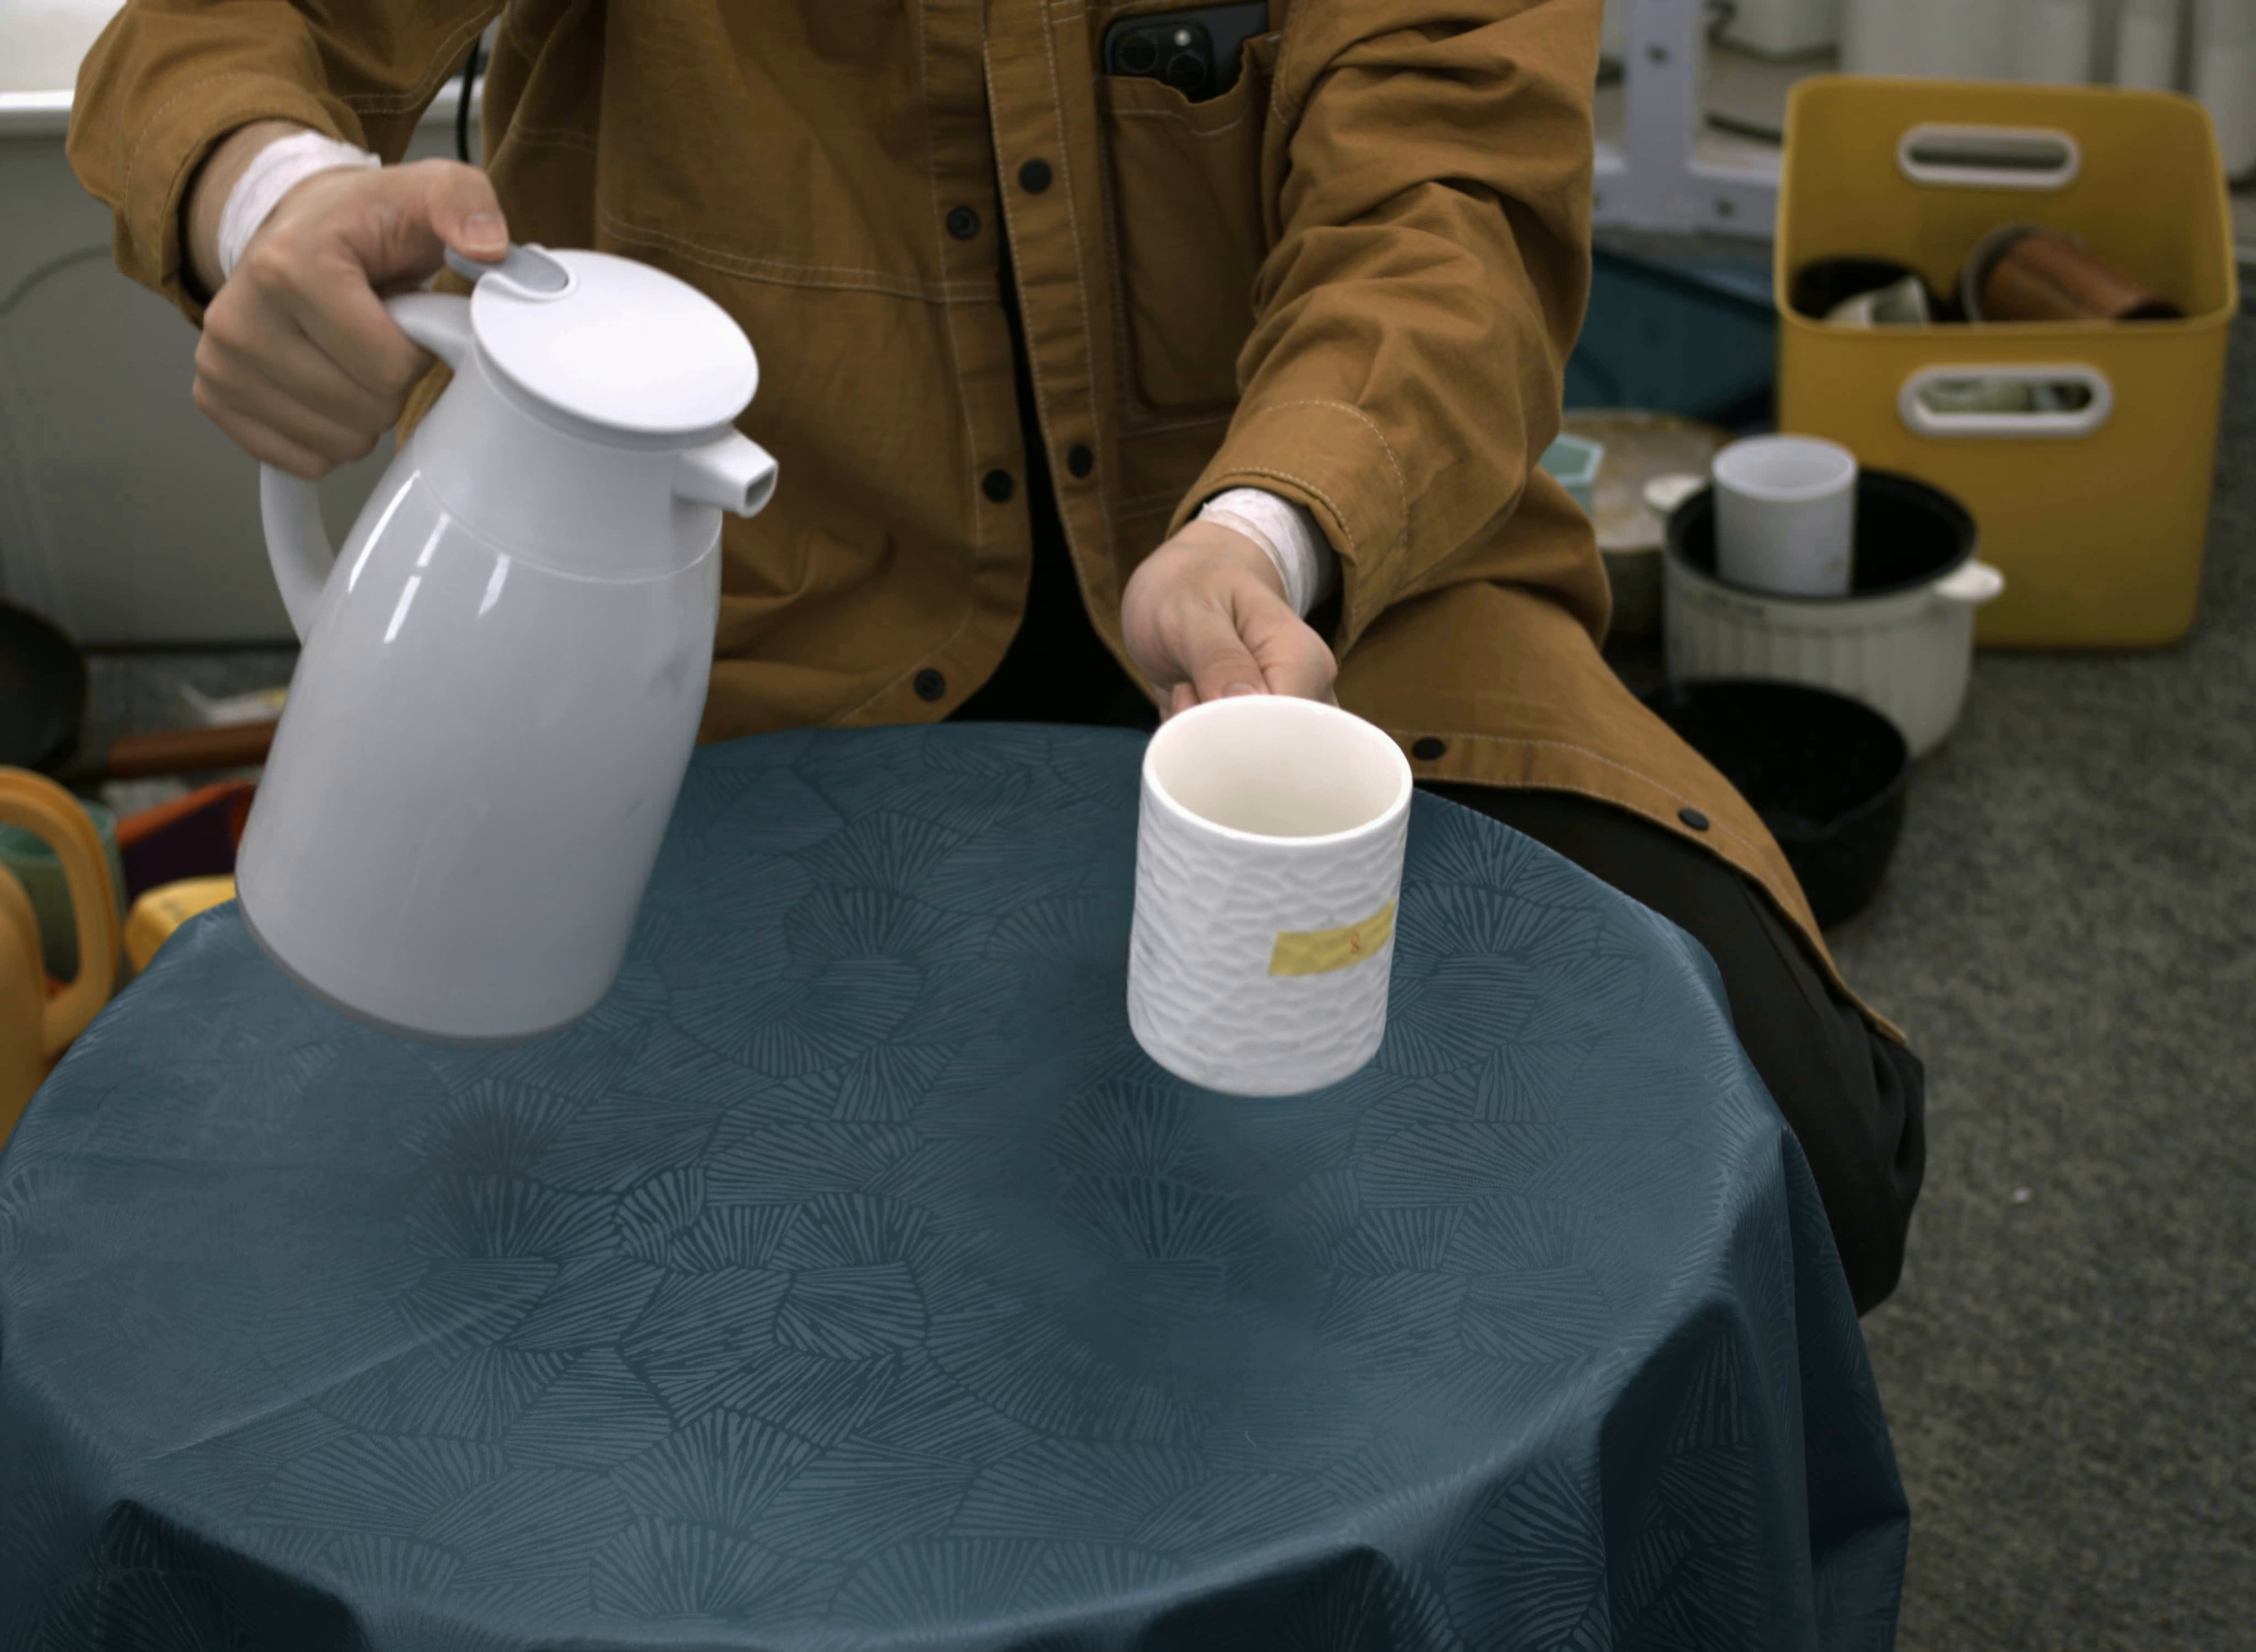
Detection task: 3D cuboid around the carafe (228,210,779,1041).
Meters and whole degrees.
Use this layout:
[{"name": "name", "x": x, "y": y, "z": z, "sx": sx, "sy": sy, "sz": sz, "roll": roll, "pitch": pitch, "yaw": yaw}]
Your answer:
[{"name": "carafe", "x": -0.210, "y": -0.075, "z": 1.795, "sx": 0.167, "sy": 0.245, "sz": 0.134, "roll": 31, "pitch": 35, "yaw": 13}]

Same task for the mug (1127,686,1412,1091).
[{"name": "mug", "x": 0.040, "y": 0.013, "z": 1.801, "sx": 0.085, "sy": 0.100, "sz": 0.120, "roll": -4, "pitch": 32, "yaw": -14}]
